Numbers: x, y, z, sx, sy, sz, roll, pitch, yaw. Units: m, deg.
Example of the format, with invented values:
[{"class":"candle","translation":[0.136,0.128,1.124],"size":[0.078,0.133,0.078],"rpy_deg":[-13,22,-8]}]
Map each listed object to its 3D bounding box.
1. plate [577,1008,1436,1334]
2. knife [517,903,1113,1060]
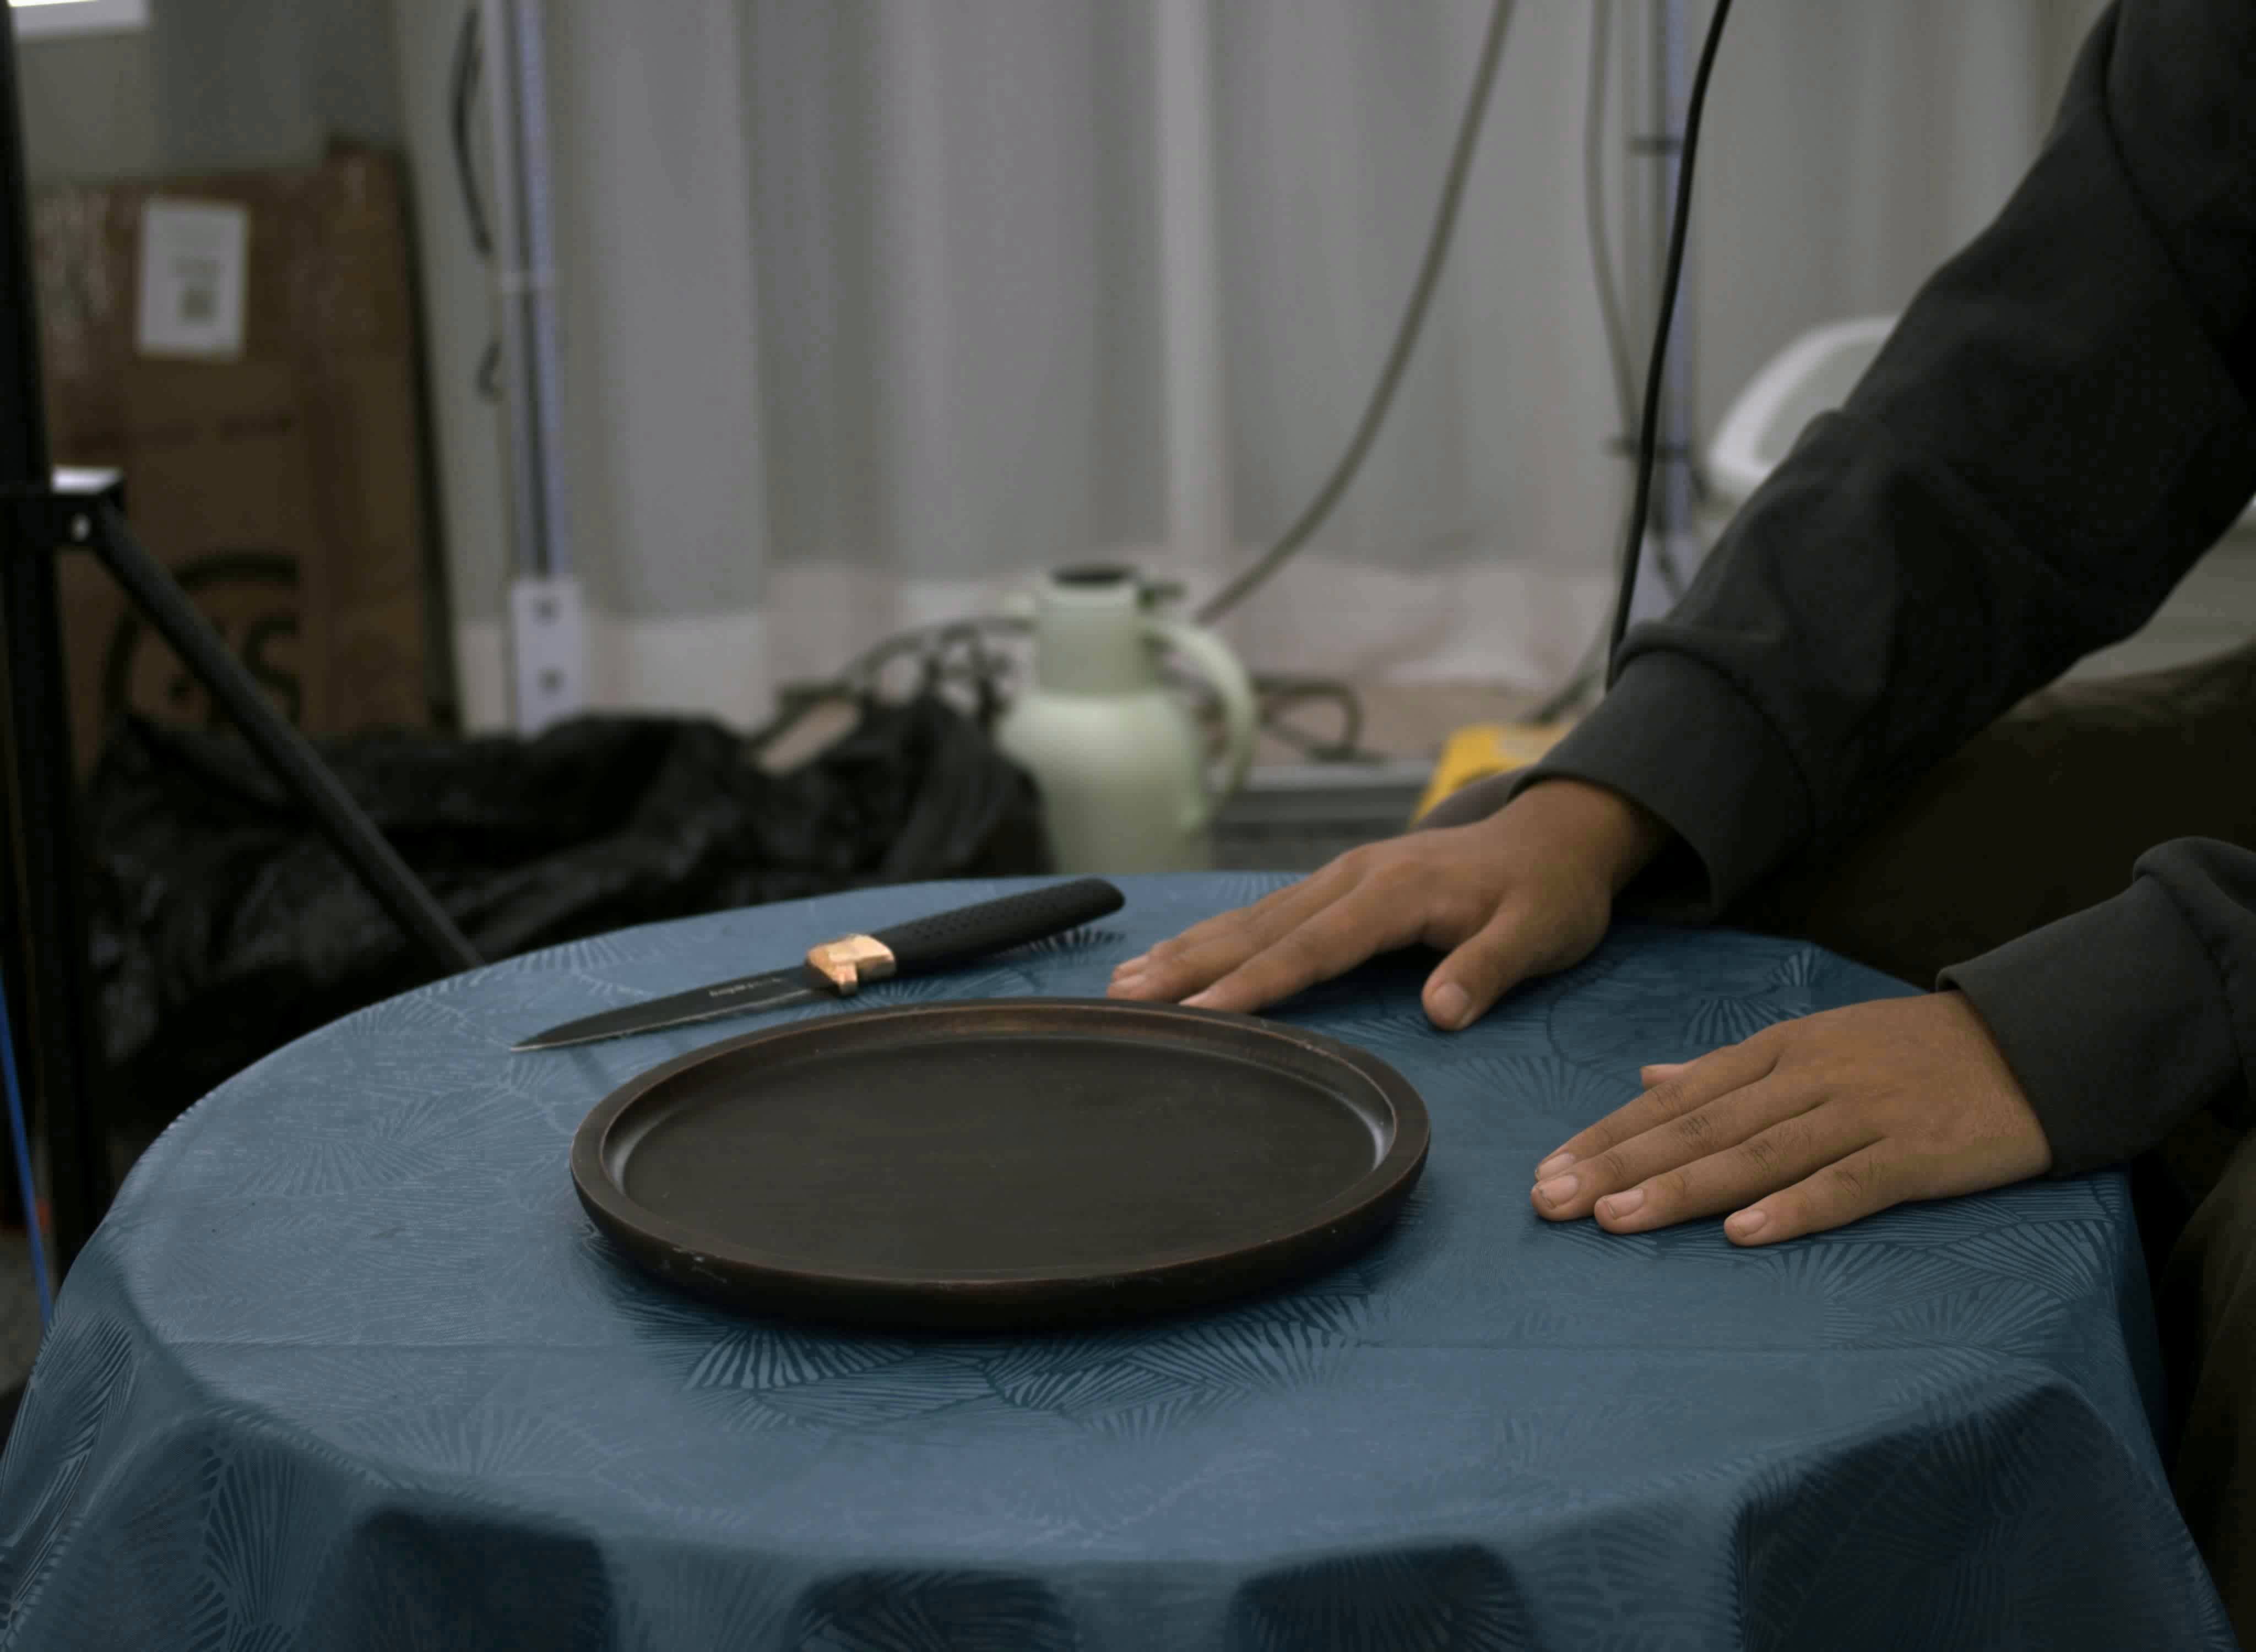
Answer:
[{"class":"plate","translation":[-0.035,0.098,1.556],"size":[0.253,0.029,0.256],"rpy_deg":[-2,14,-1]},{"class":"knife","translation":[-0.101,0.052,1.752],"size":[0.221,0.017,0.027],"rpy_deg":[-12,23,-27]}]
